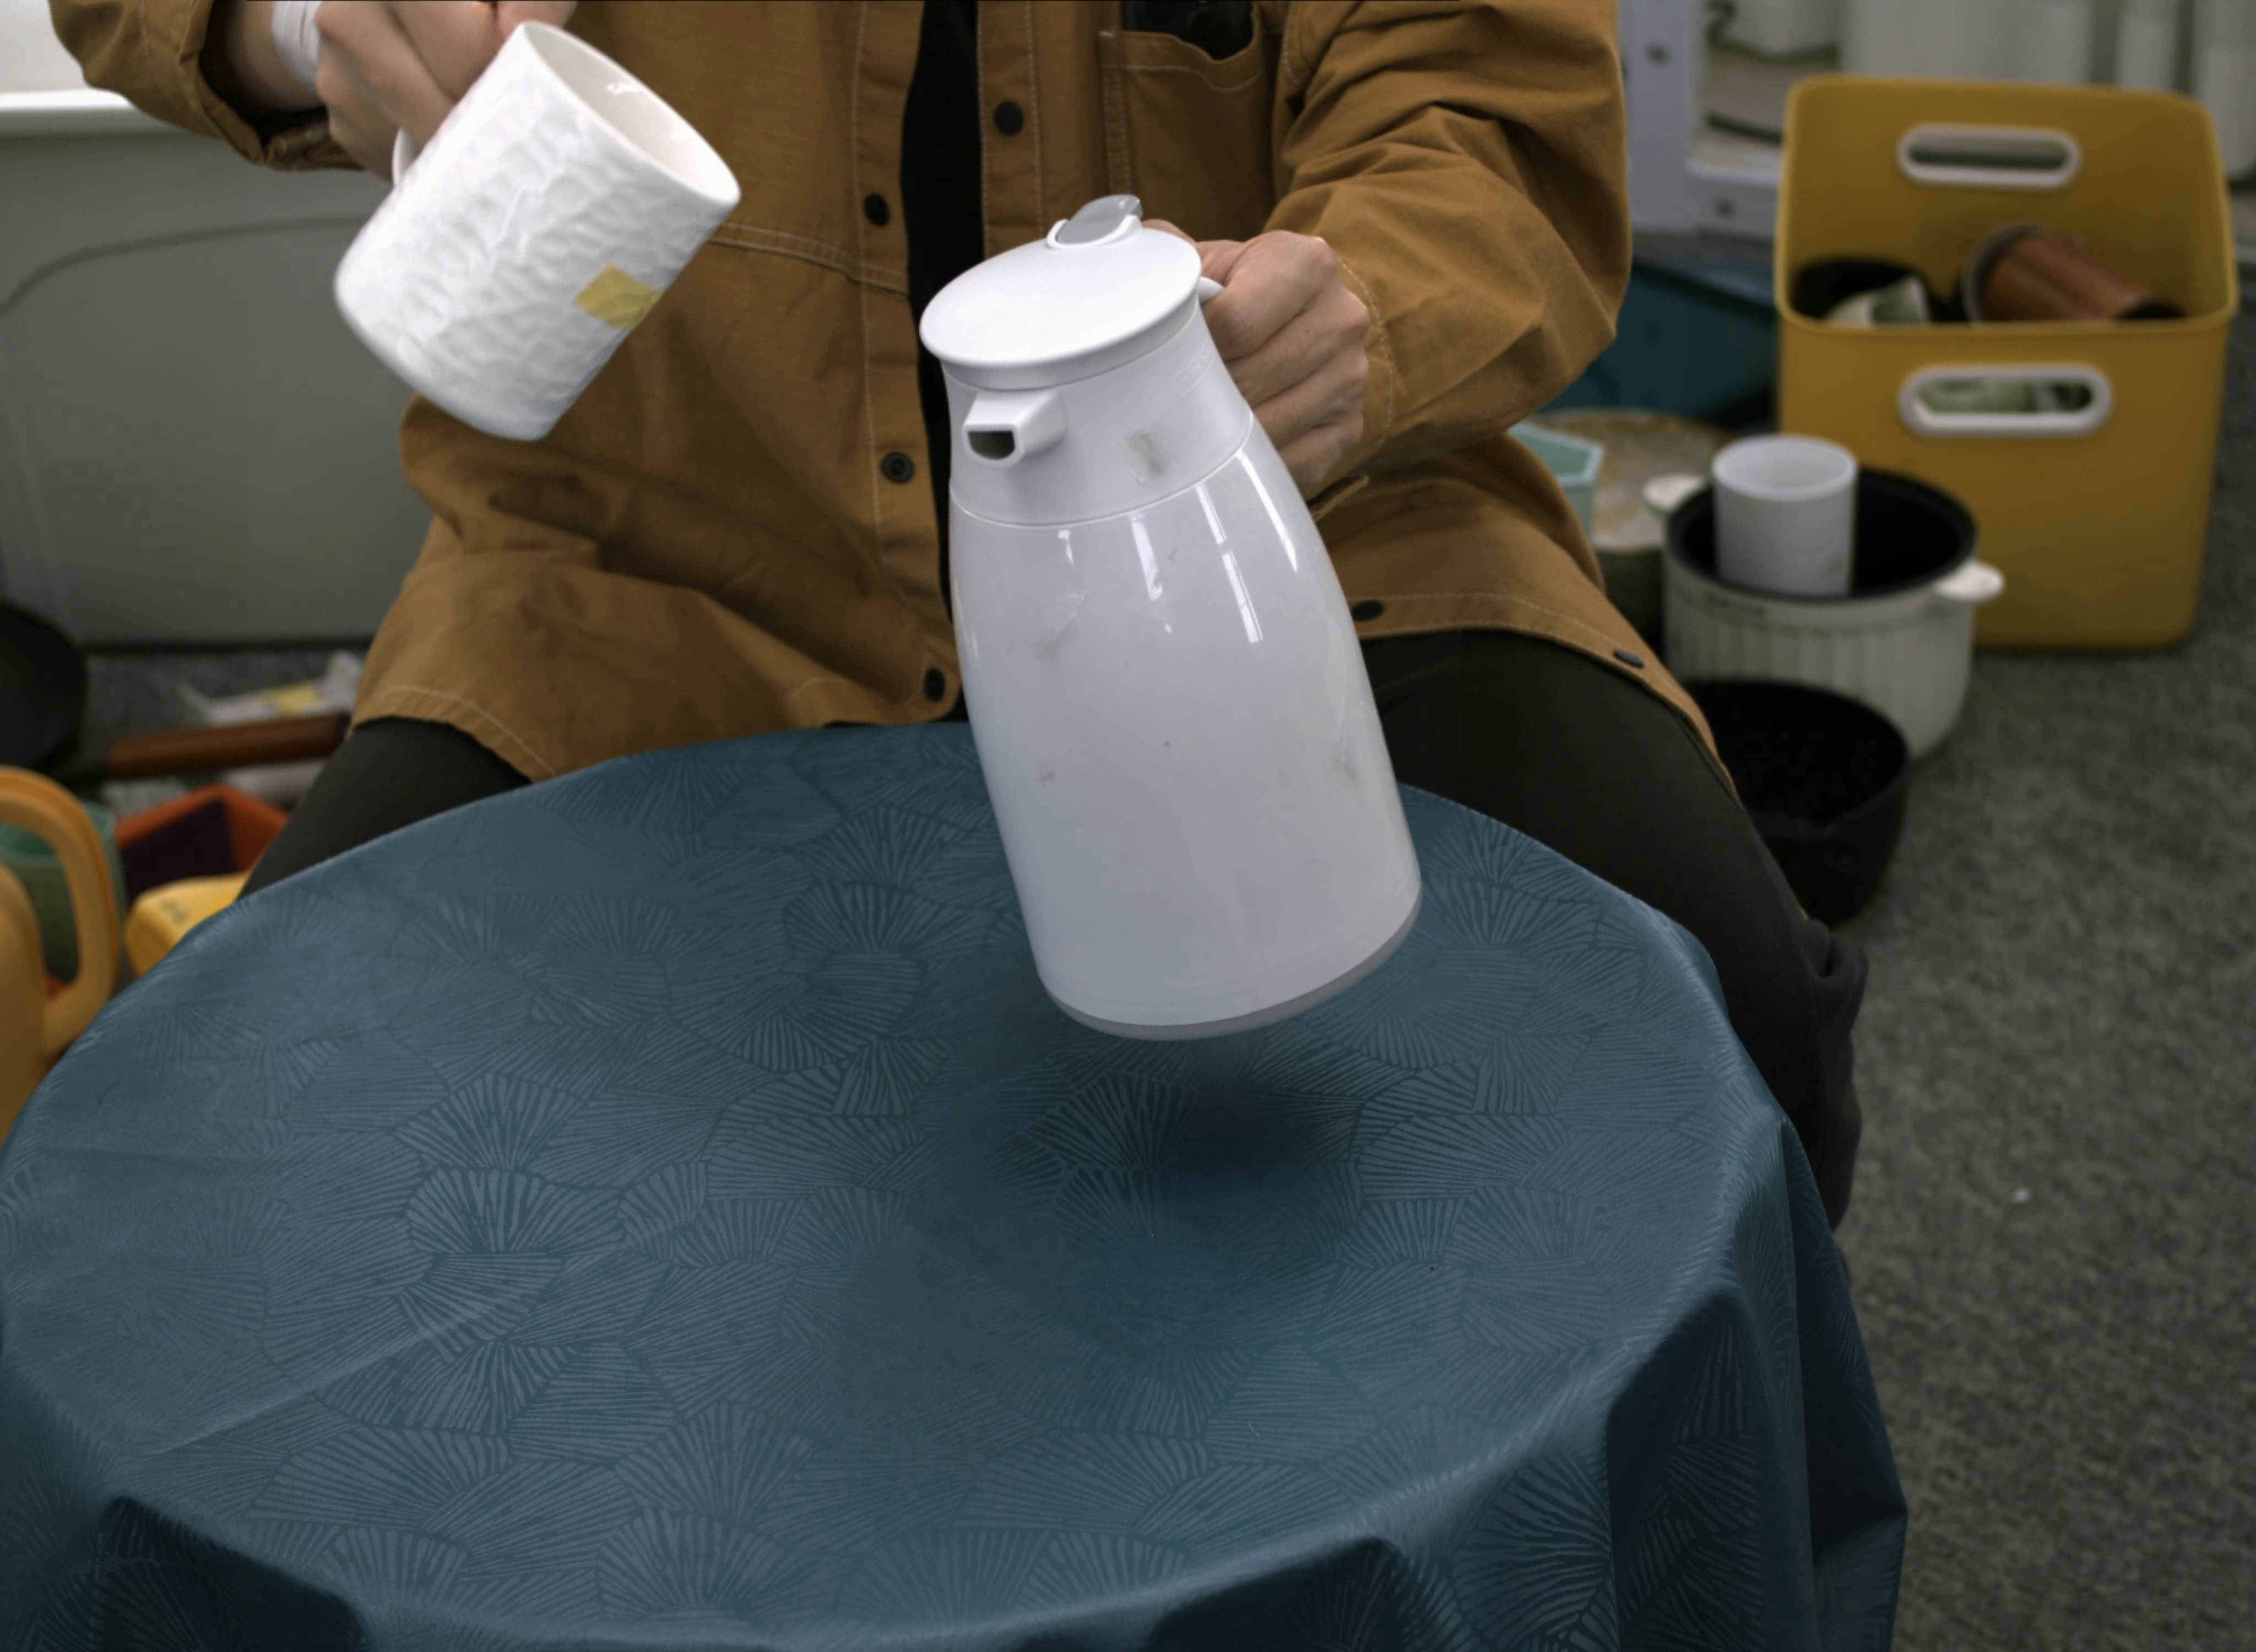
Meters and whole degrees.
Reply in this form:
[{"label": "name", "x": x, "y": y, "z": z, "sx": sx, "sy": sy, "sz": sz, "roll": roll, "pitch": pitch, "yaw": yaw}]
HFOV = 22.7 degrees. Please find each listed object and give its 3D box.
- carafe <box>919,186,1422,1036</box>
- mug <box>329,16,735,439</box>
[{"label": "carafe", "x": 0.011, "y": -0.080, "z": 1.835, "sx": 0.131, "sy": 0.246, "sz": 0.171, "roll": -2, "pitch": 30, "yaw": 26}, {"label": "mug", "x": -0.193, "y": -0.192, "z": 1.743, "sx": 0.085, "sy": 0.101, "sz": 0.119, "roll": 25, "pitch": 19, "yaw": -50}]
